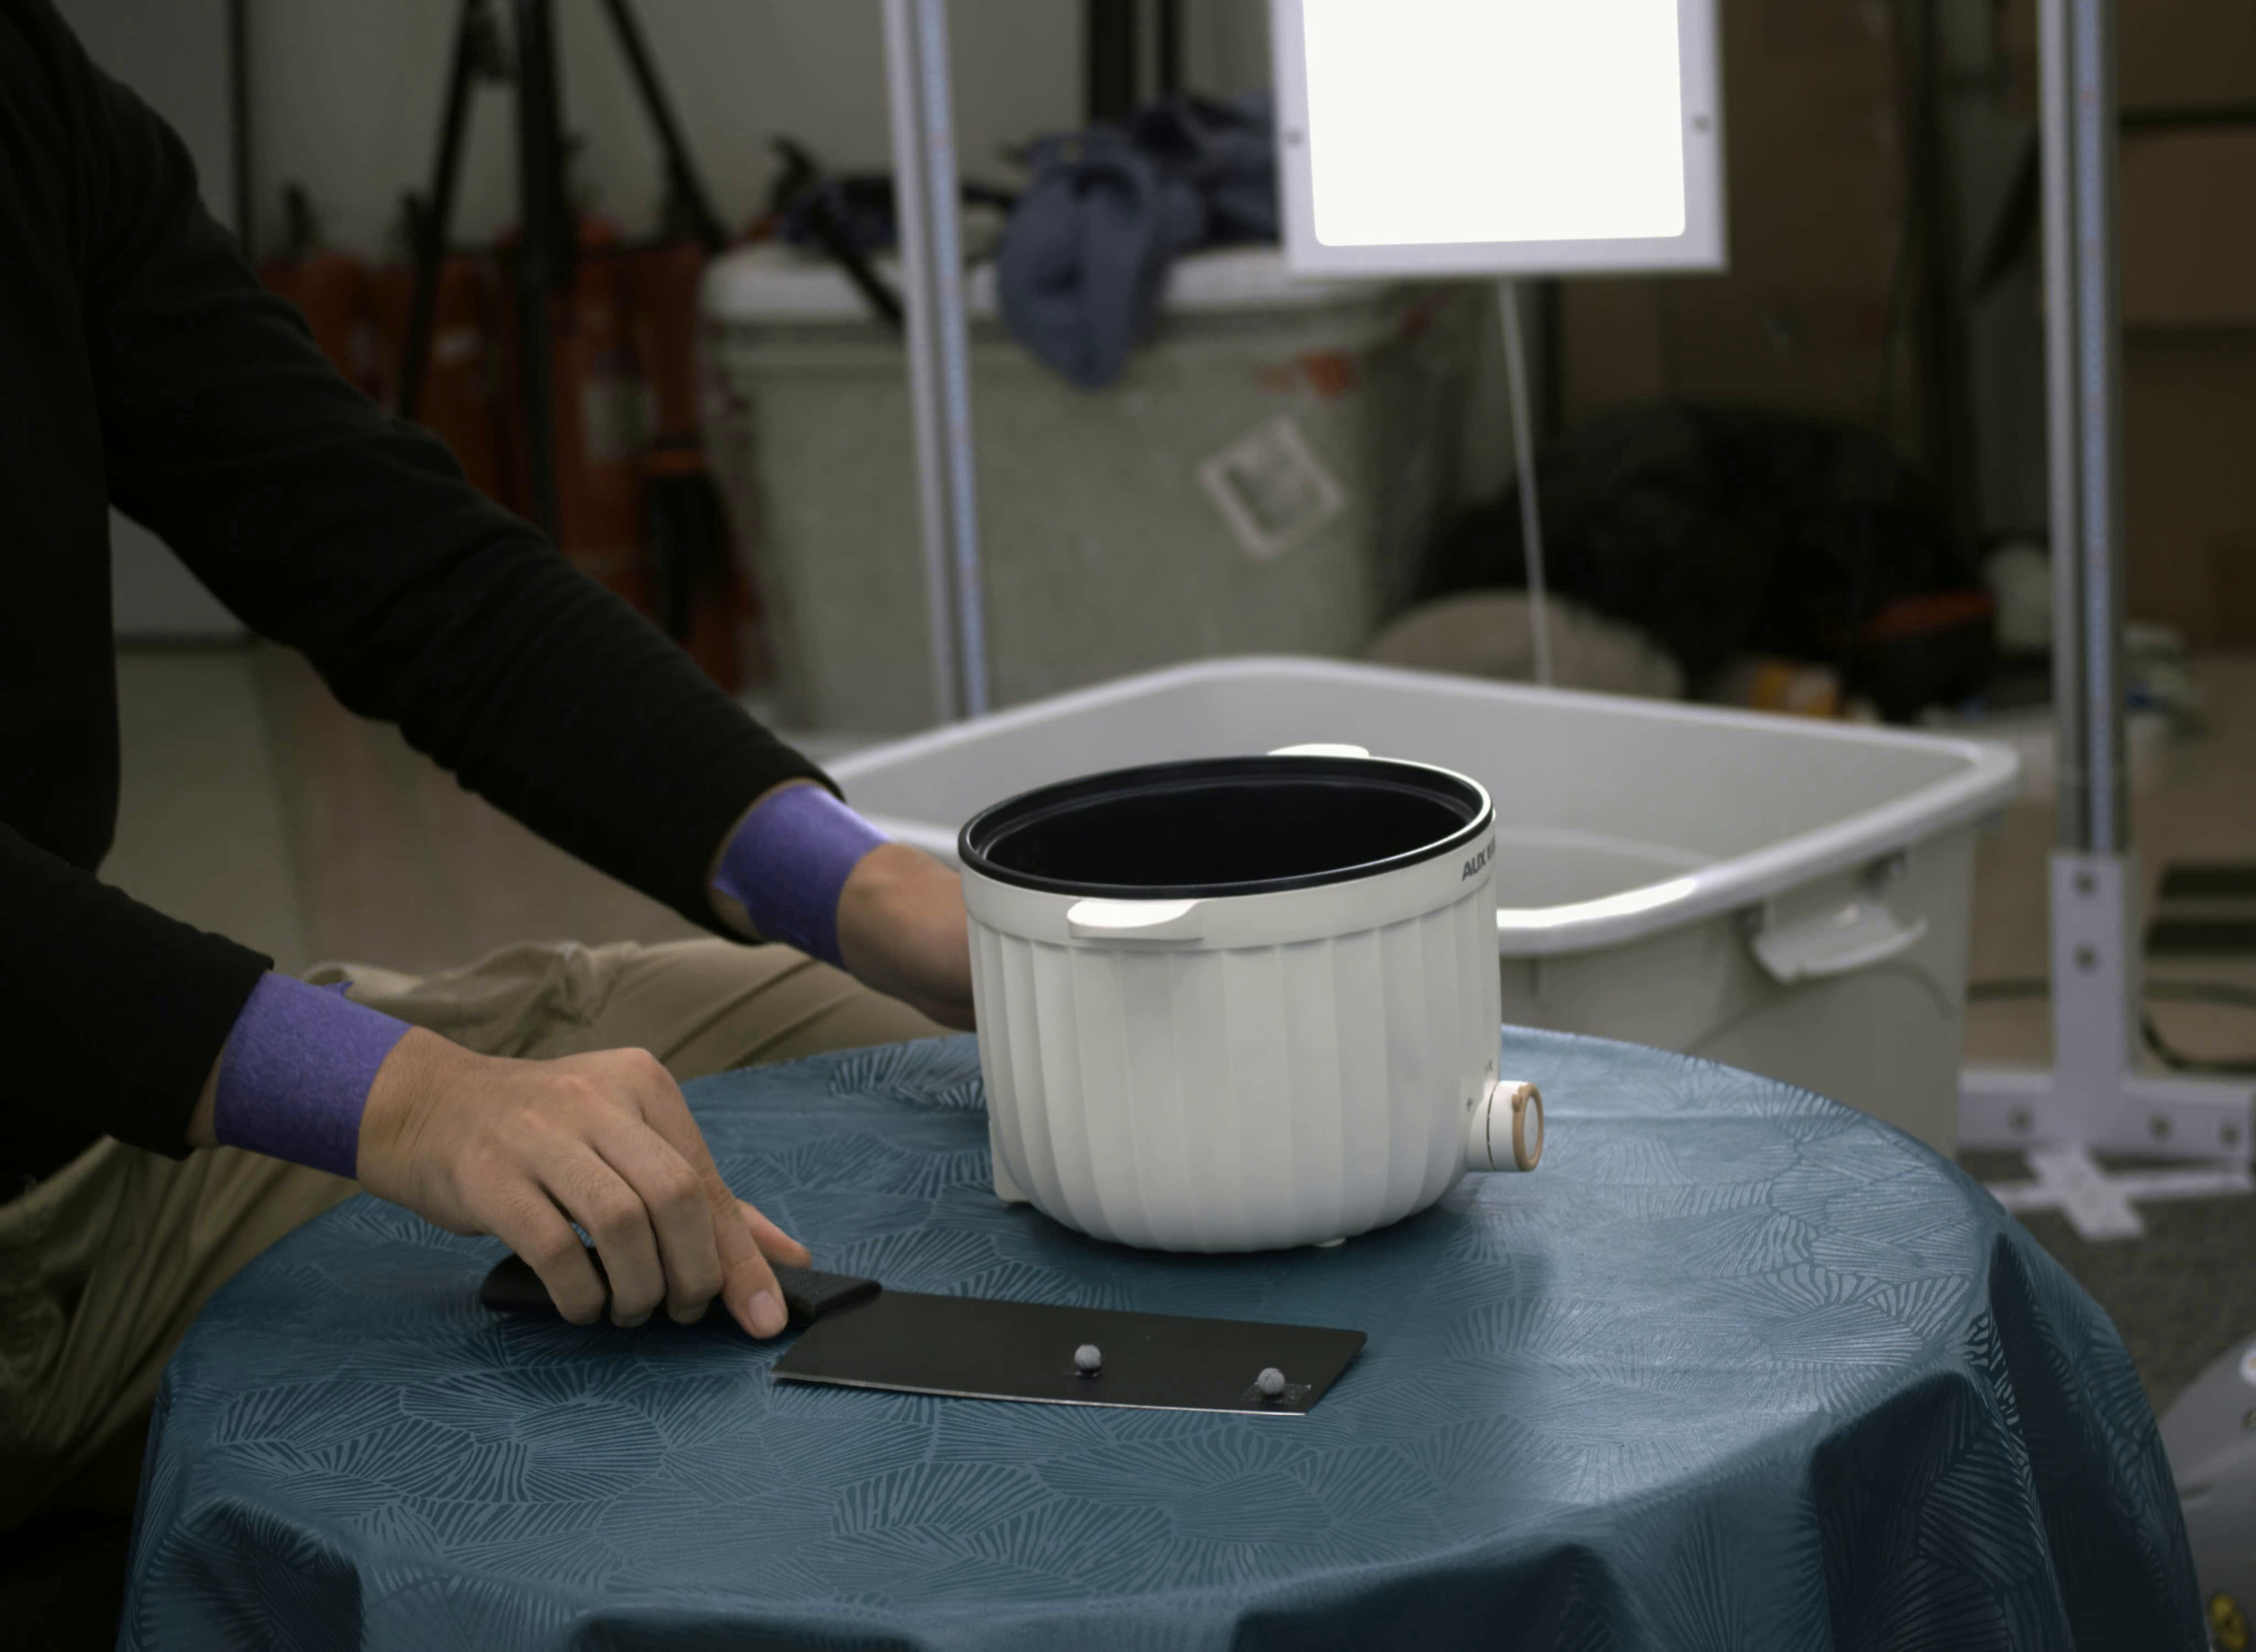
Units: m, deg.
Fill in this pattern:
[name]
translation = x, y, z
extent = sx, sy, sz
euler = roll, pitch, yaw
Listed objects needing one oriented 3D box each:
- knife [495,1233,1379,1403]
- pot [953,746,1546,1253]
[knife]
translation = -0.068, 0.158, 1.764
extent = 0.307, 0.021, 0.079
euler = 5, 22, 27
[pot]
translation = 0.043, 0.061, 1.859
extent = 0.193, 0.143, 0.236
euler = -3, 15, 21
